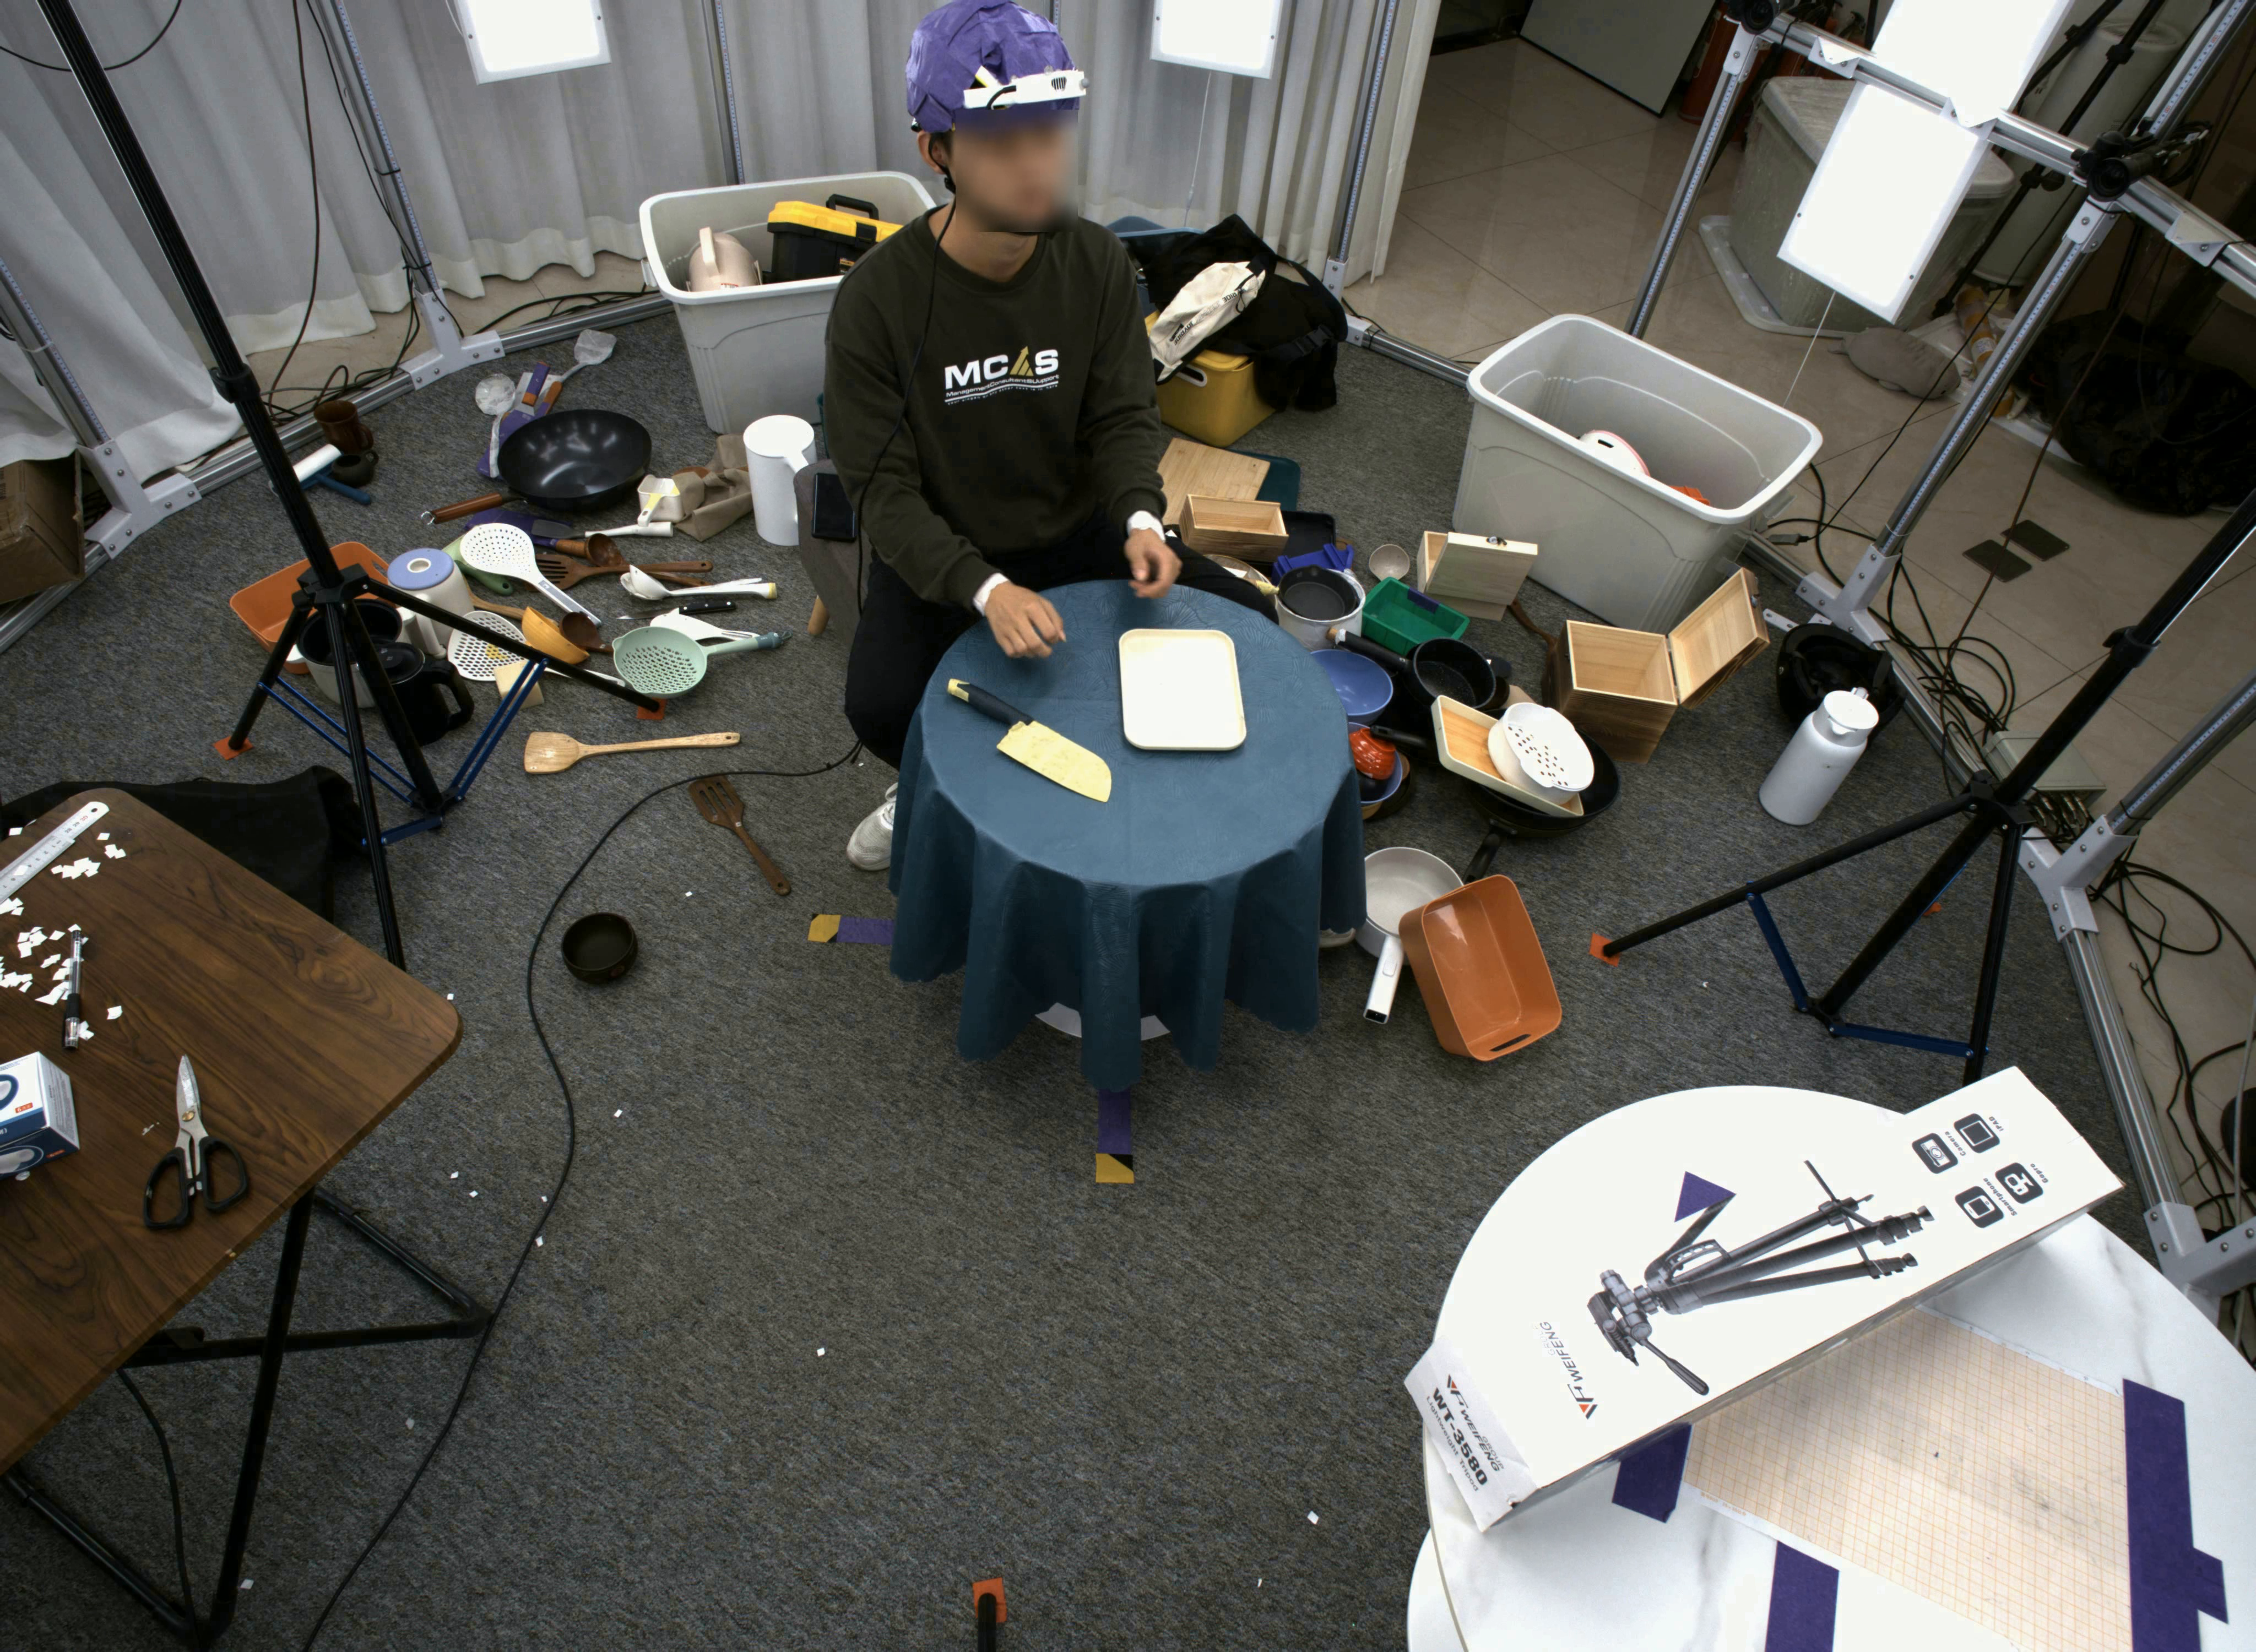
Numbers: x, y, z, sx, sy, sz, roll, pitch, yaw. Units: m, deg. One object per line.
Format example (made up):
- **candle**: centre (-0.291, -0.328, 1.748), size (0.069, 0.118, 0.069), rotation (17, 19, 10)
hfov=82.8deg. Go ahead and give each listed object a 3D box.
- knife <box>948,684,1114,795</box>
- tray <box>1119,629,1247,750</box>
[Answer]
- **knife**: centre (-0.139, -0.118, 1.750), size (0.292, 0.026, 0.082), rotation (31, 52, 20)
- **tray**: centre (0.076, -0.196, 1.831), size (0.171, 0.017, 0.246), rotation (0, 49, -3)
